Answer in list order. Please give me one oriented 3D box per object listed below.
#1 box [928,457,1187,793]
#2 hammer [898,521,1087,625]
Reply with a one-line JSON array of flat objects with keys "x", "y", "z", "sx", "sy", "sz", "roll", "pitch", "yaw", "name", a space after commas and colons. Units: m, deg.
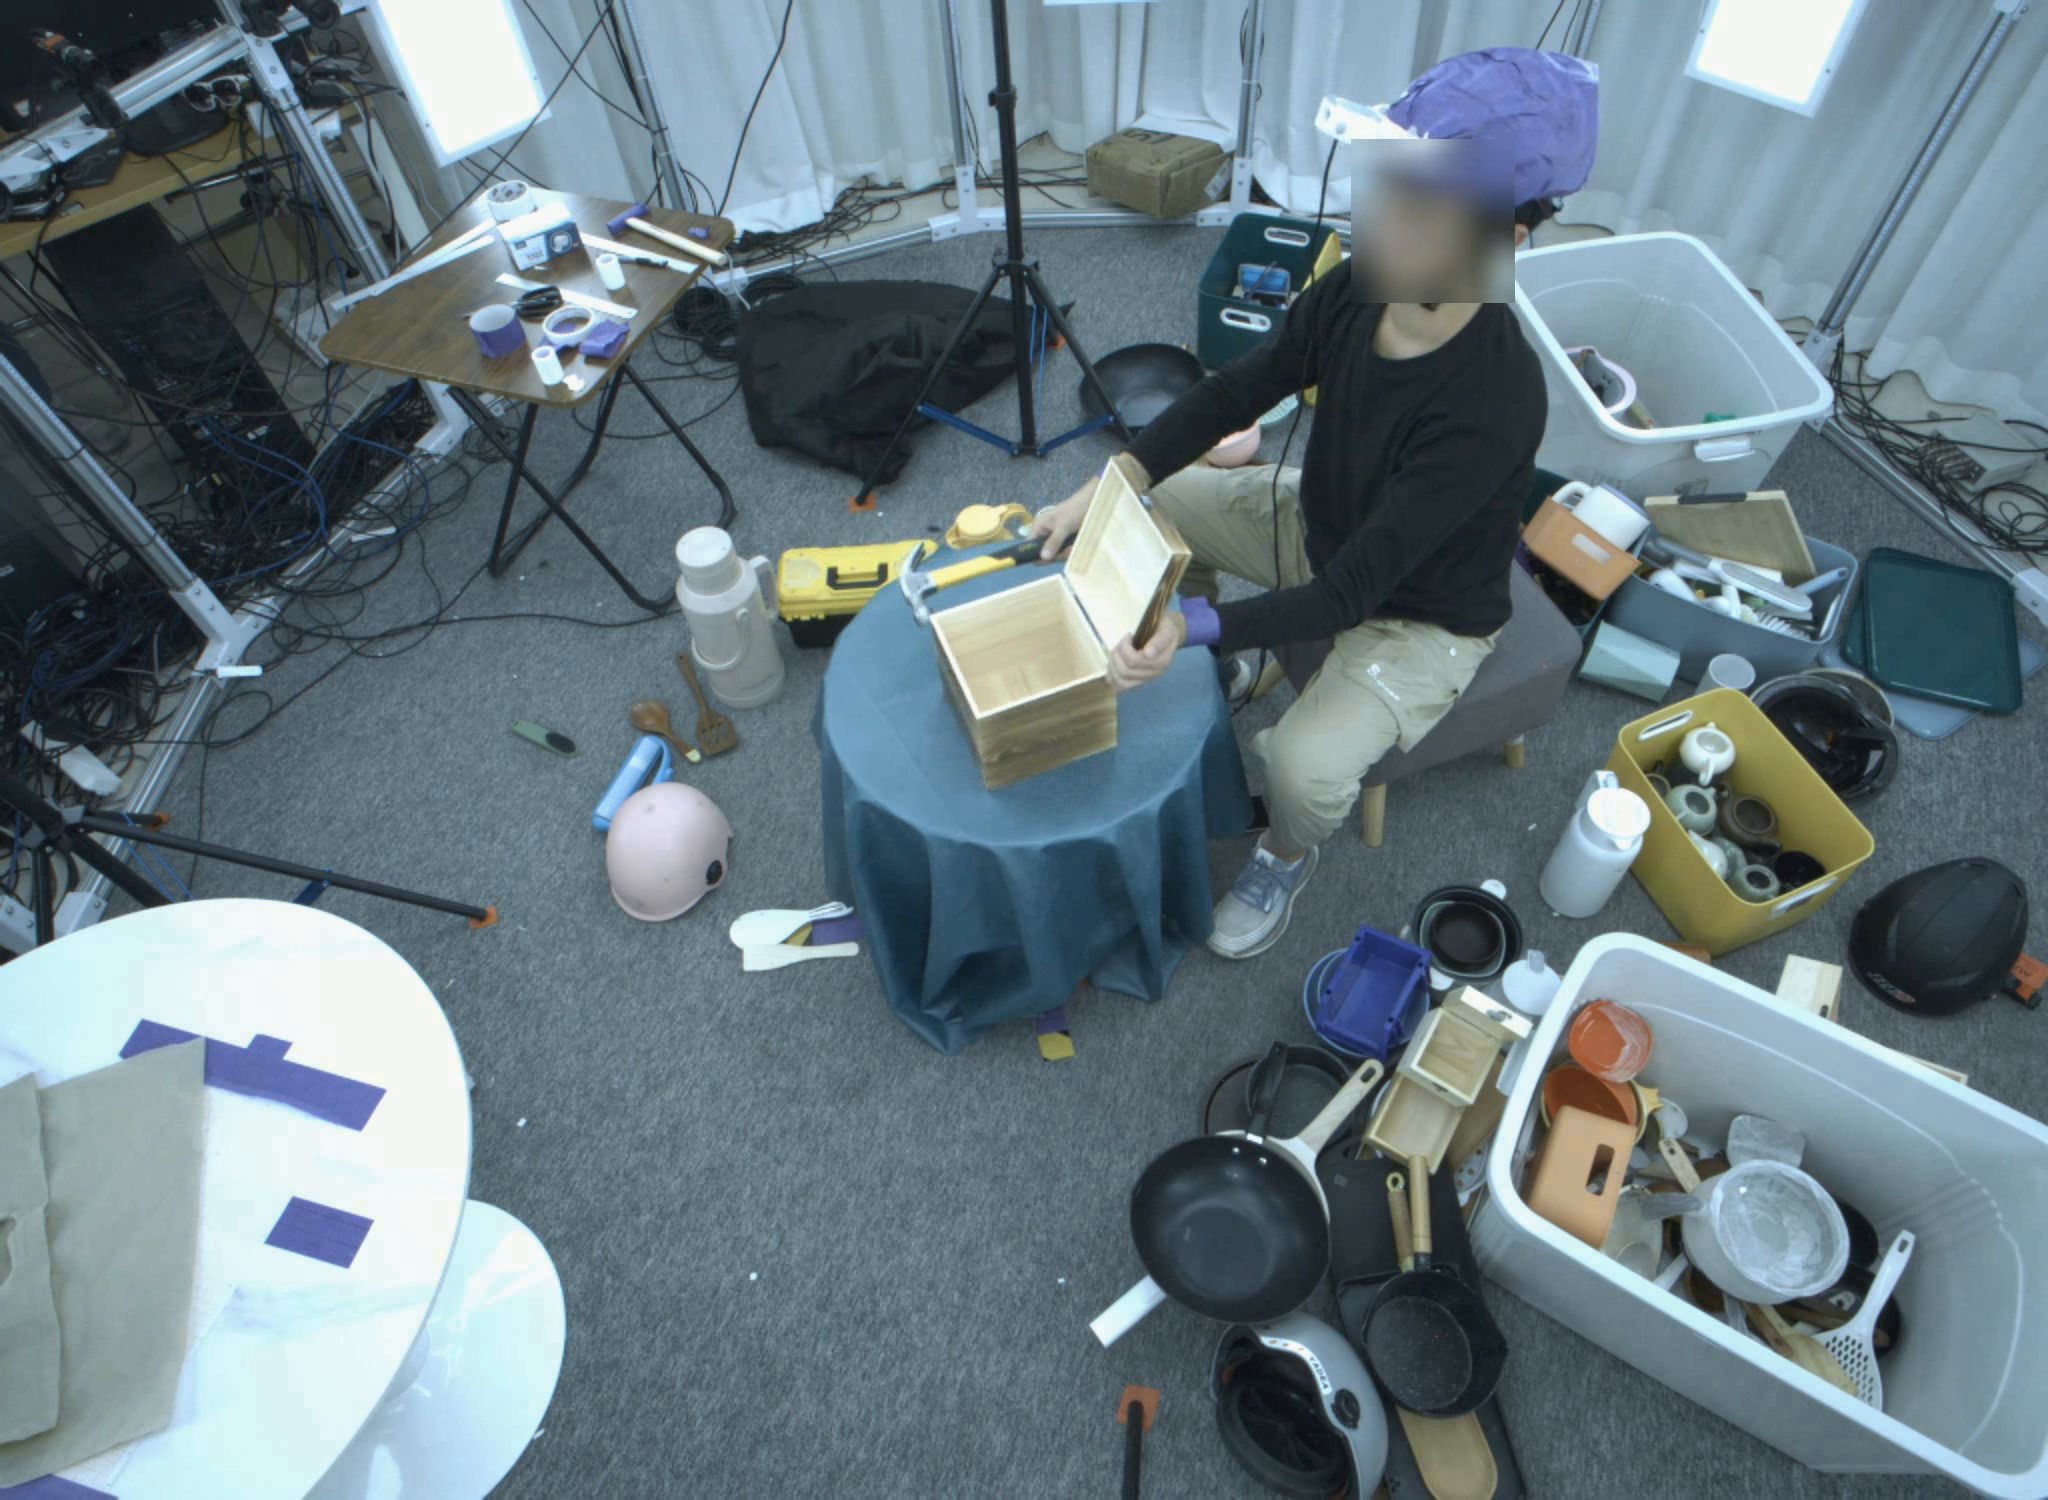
[{"x": 0.041, "y": -0.170, "z": 1.683, "sx": 0.324, "sy": 0.379, "sz": 0.205, "roll": -19, "pitch": 55, "yaw": -11, "name": "box"}, {"x": -0.026, "y": -0.292, "z": 1.840, "sx": 0.341, "sy": 0.032, "sz": 0.129, "roll": -18, "pitch": 64, "yaw": -12, "name": "hammer"}]
